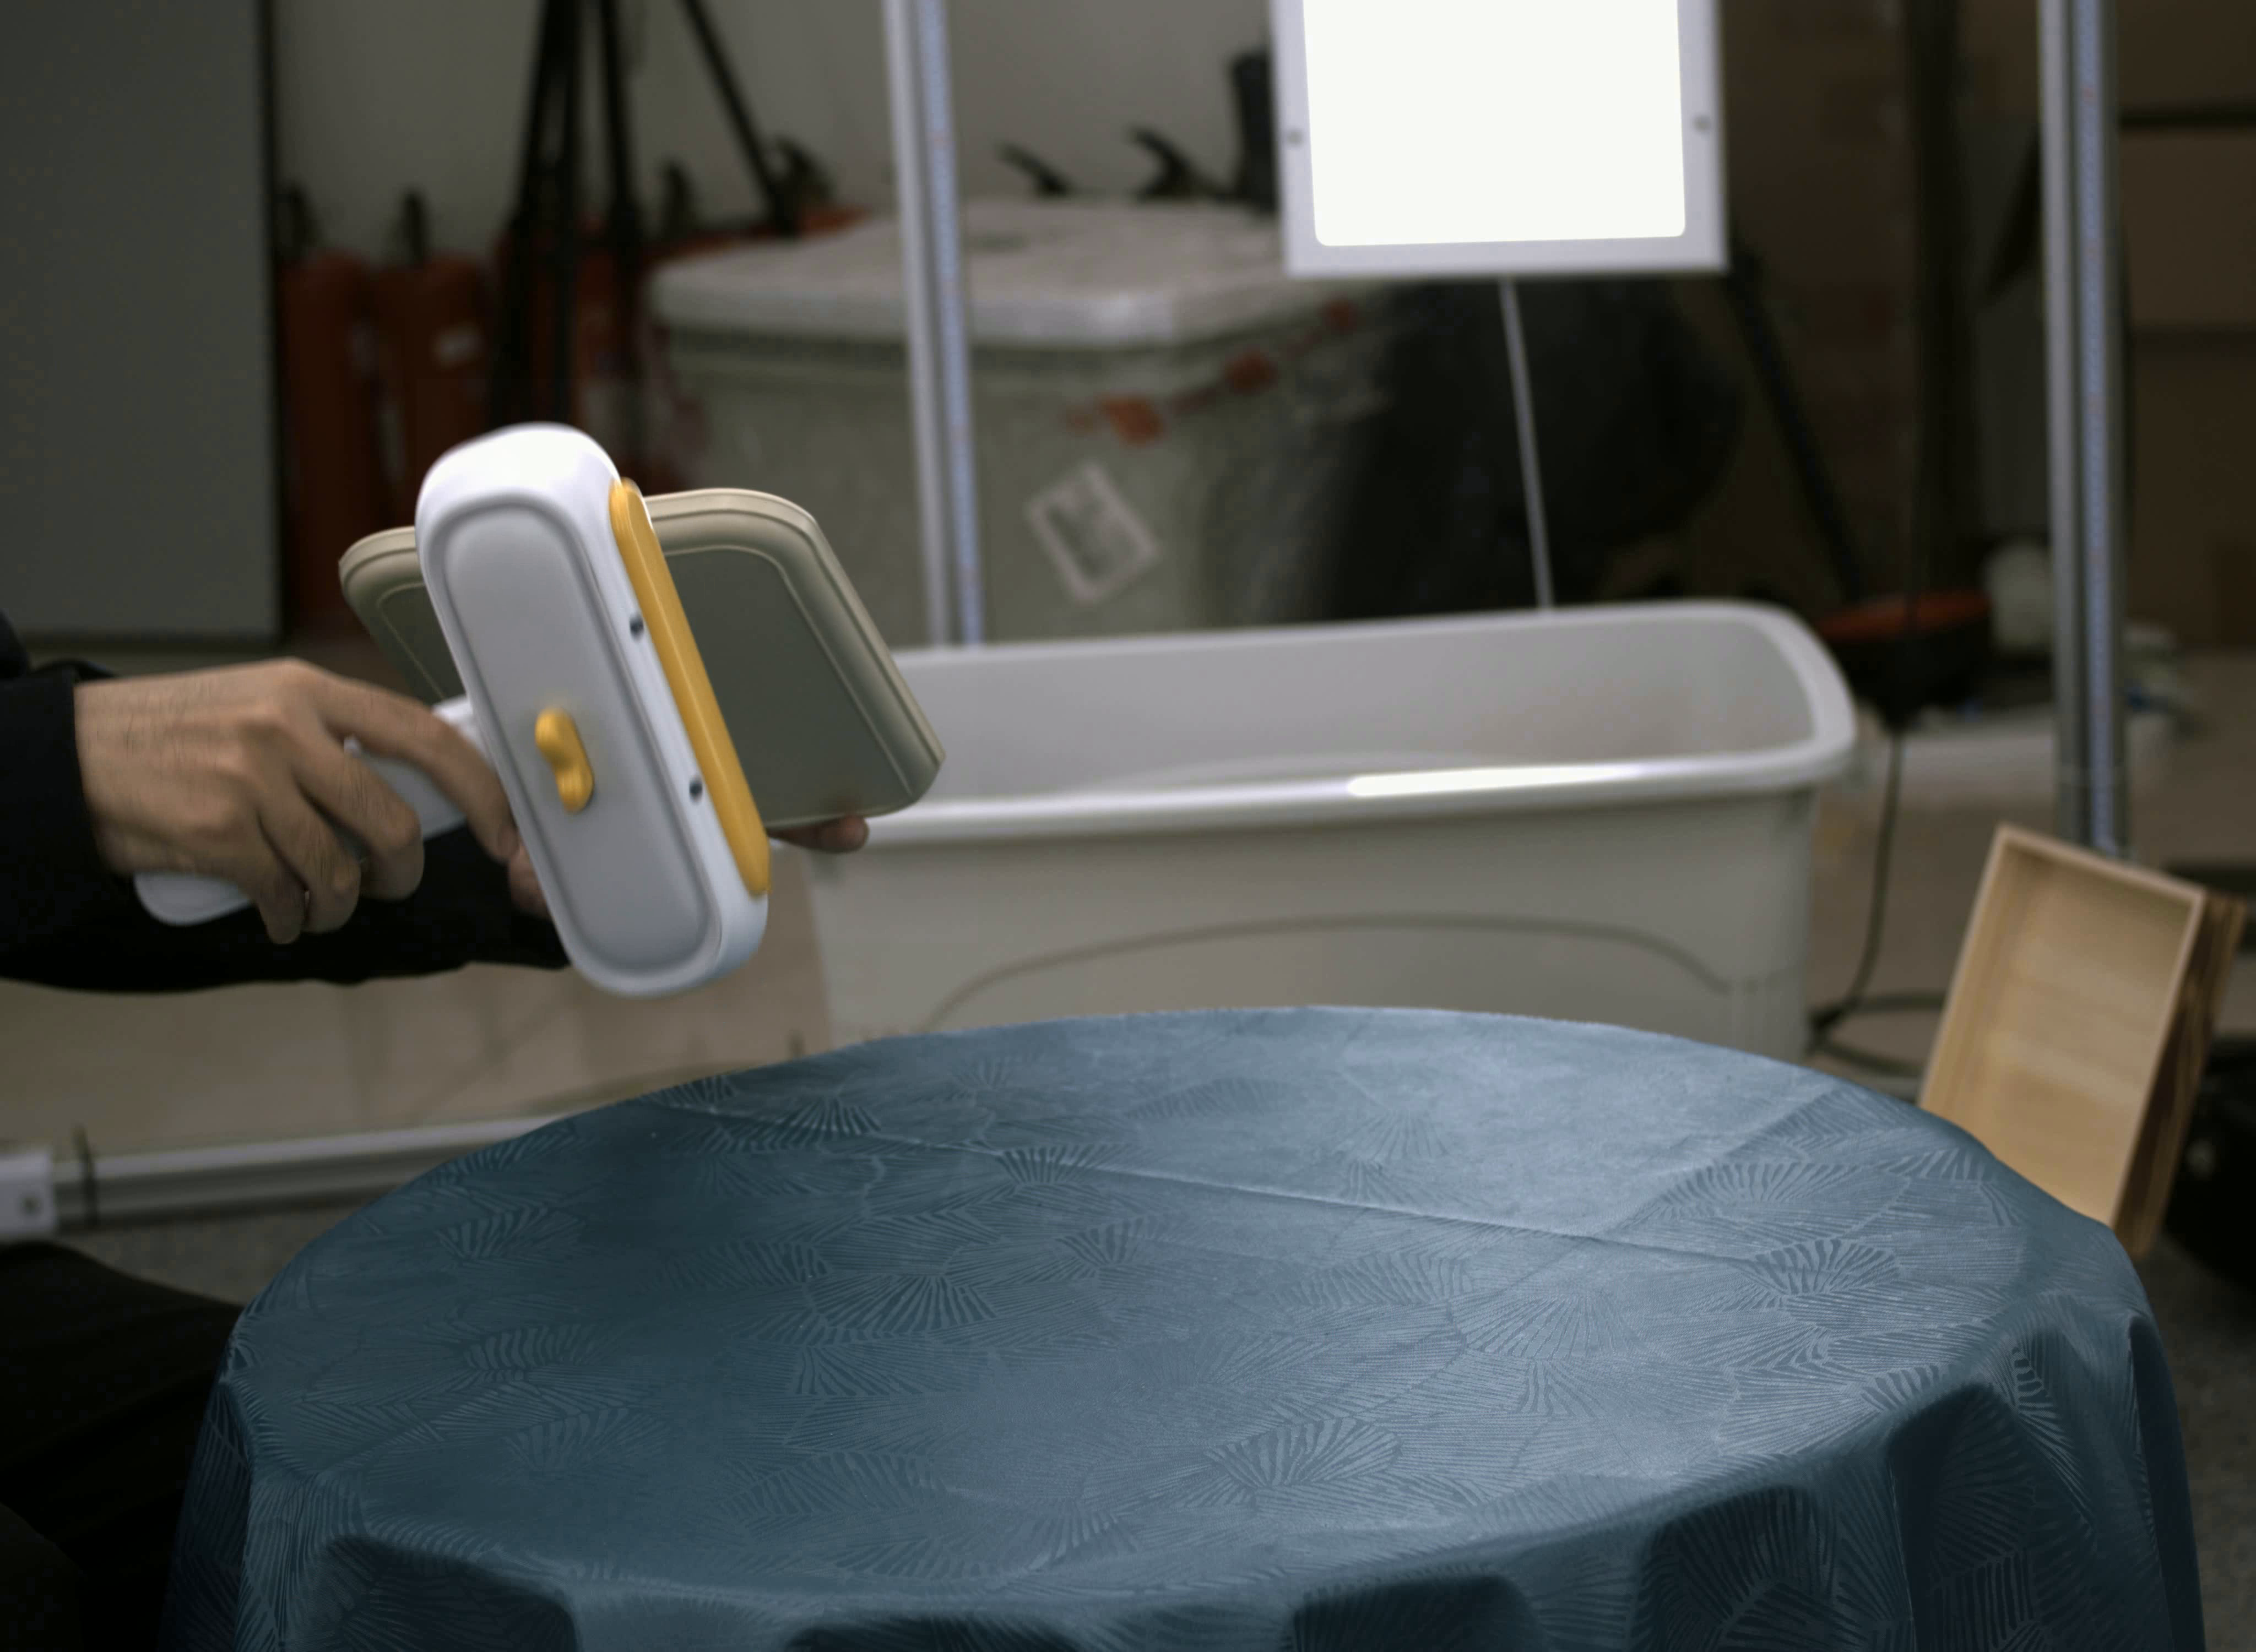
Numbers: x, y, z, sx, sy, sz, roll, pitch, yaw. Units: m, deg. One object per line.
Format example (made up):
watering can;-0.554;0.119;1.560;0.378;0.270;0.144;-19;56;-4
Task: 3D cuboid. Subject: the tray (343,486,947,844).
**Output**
tray;-0.168;-0.049;1.964;0.172;0.017;0.238;-8;-27;12

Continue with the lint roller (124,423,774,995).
lint roller;-0.226;-0.013;1.753;0.194;0.192;0.074;-19;24;11
